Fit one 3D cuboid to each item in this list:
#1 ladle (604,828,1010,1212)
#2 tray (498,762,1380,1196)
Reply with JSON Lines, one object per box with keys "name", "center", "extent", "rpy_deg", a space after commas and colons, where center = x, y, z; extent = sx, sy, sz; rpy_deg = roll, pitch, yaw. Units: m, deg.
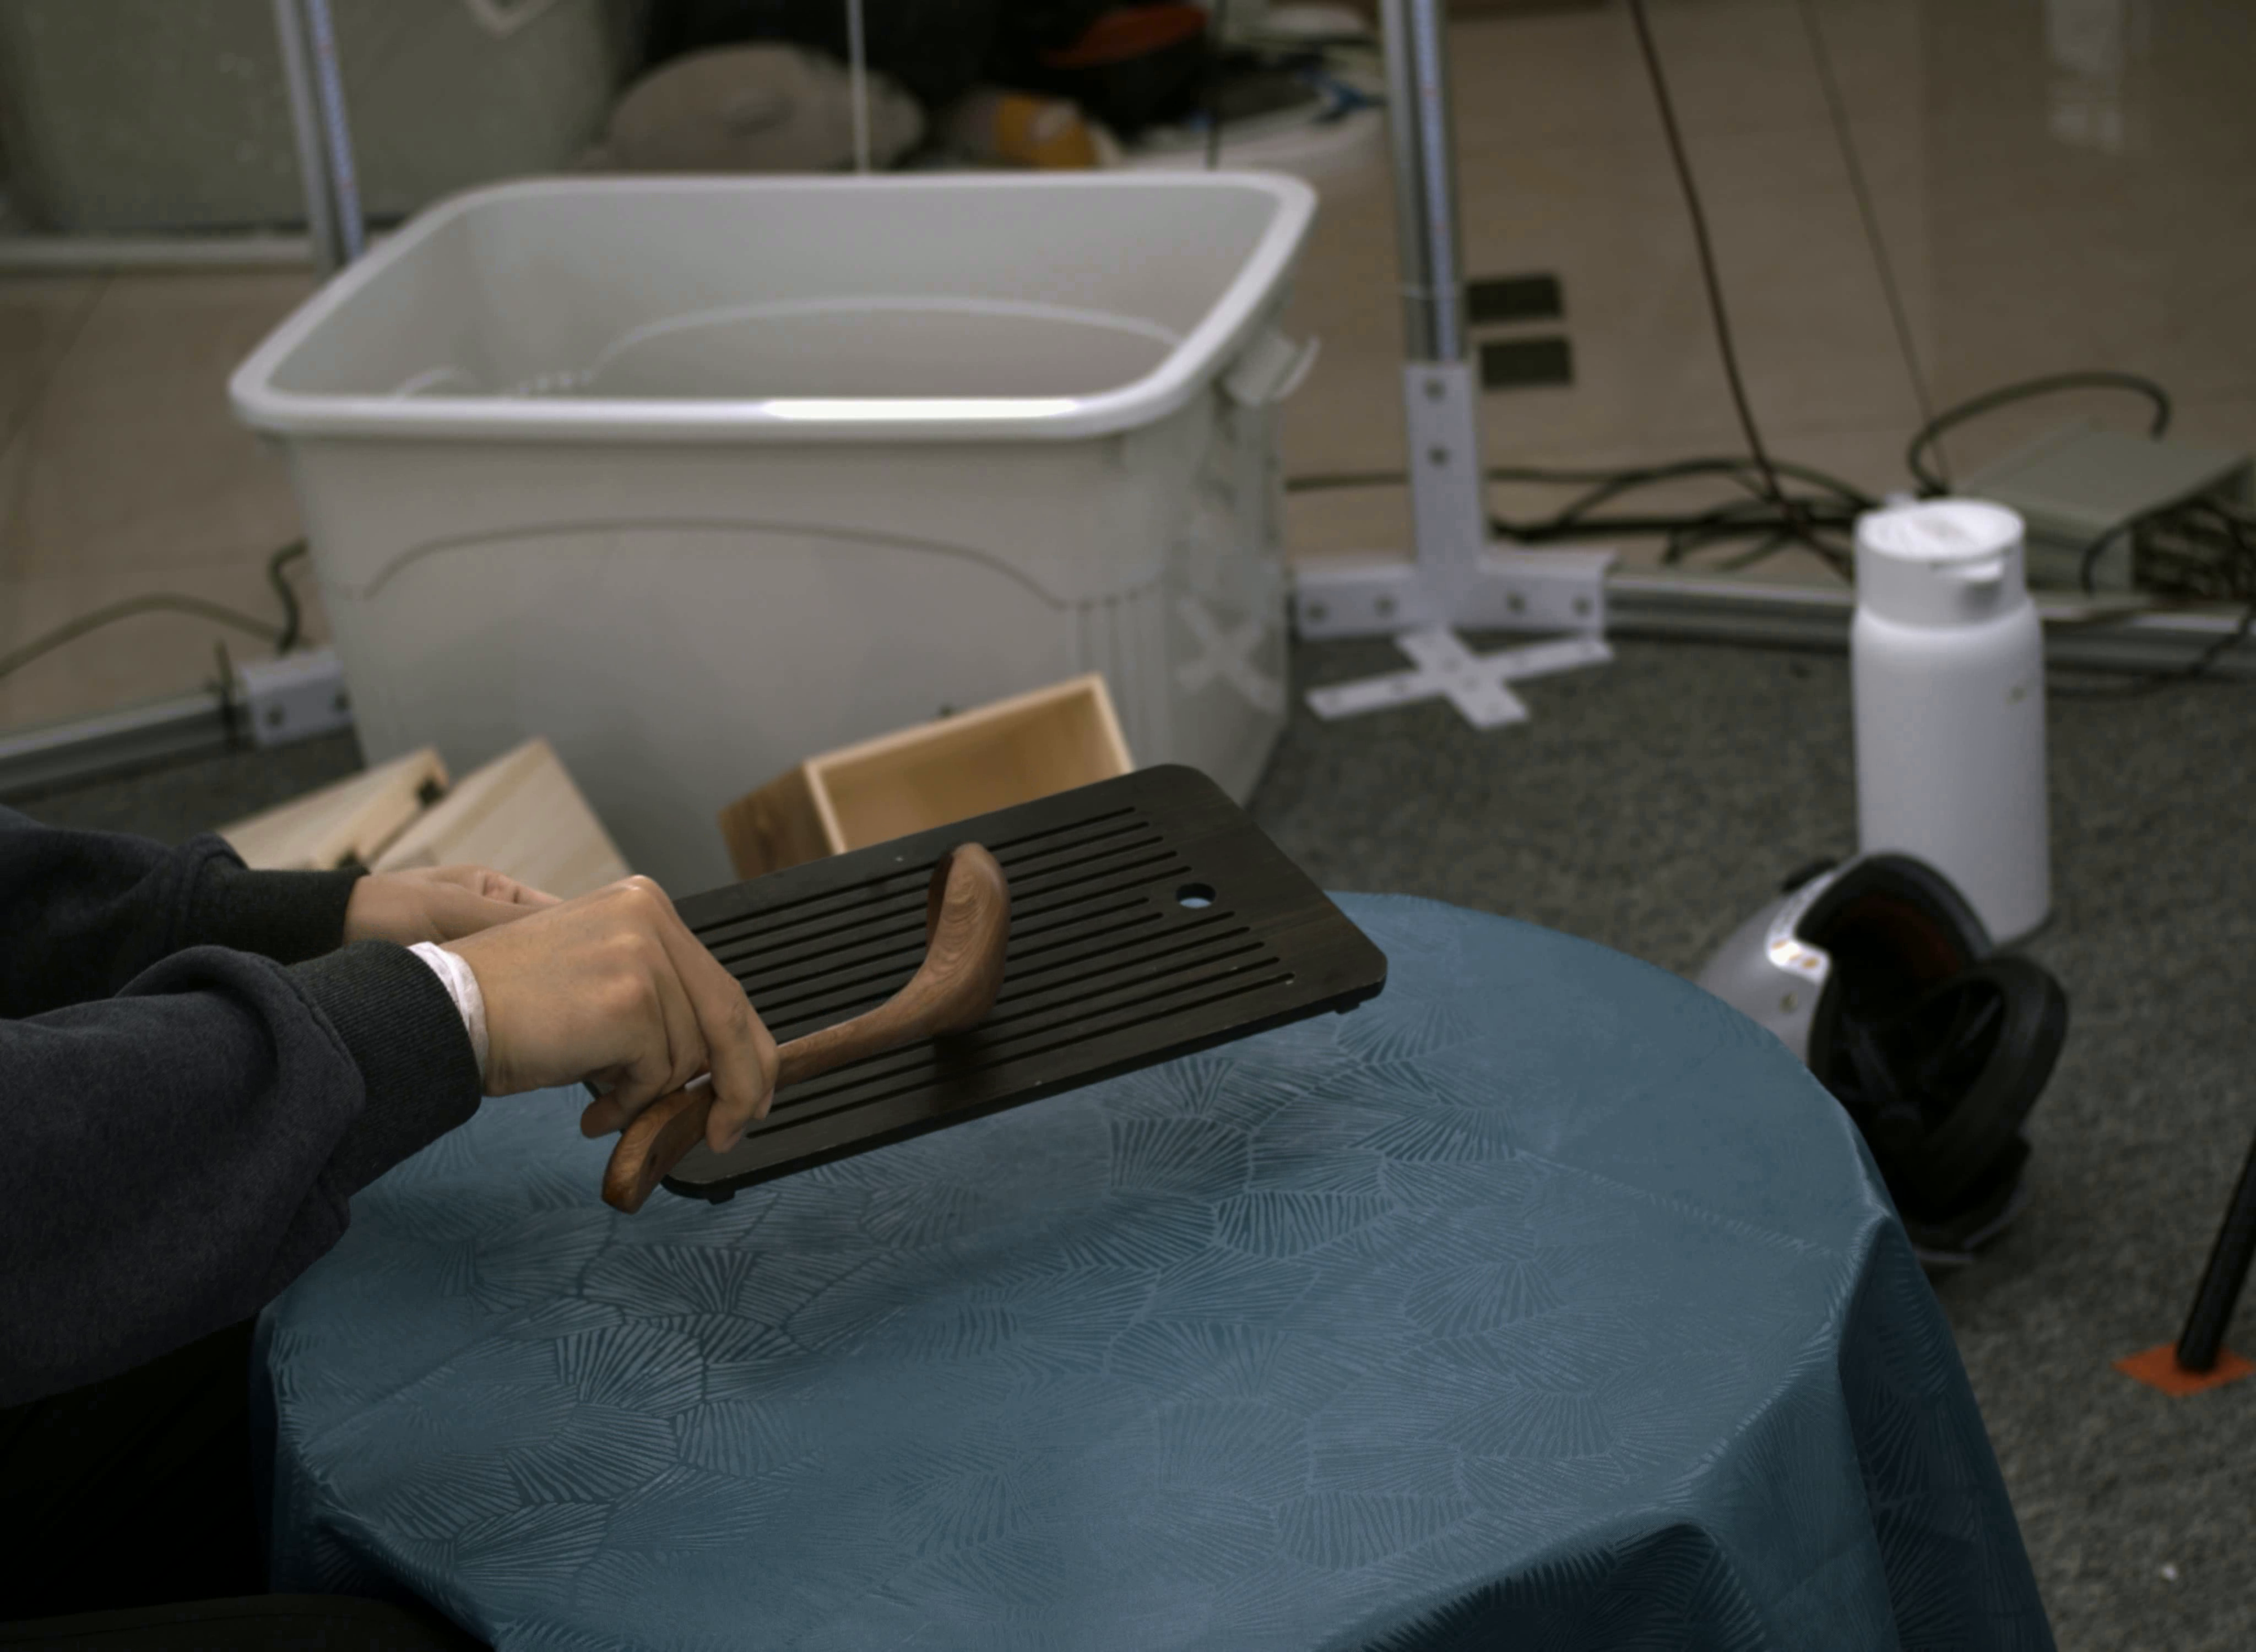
{"name": "ladle", "center": [-0.121, 0.073, 2.029], "extent": [0.064, 0.078, 0.257], "rpy_deg": [20, 32, 31]}
{"name": "tray", "center": [-0.071, 0.056, 2.157], "extent": [0.304, 0.019, 0.167], "rpy_deg": [-16, 38, -24]}
